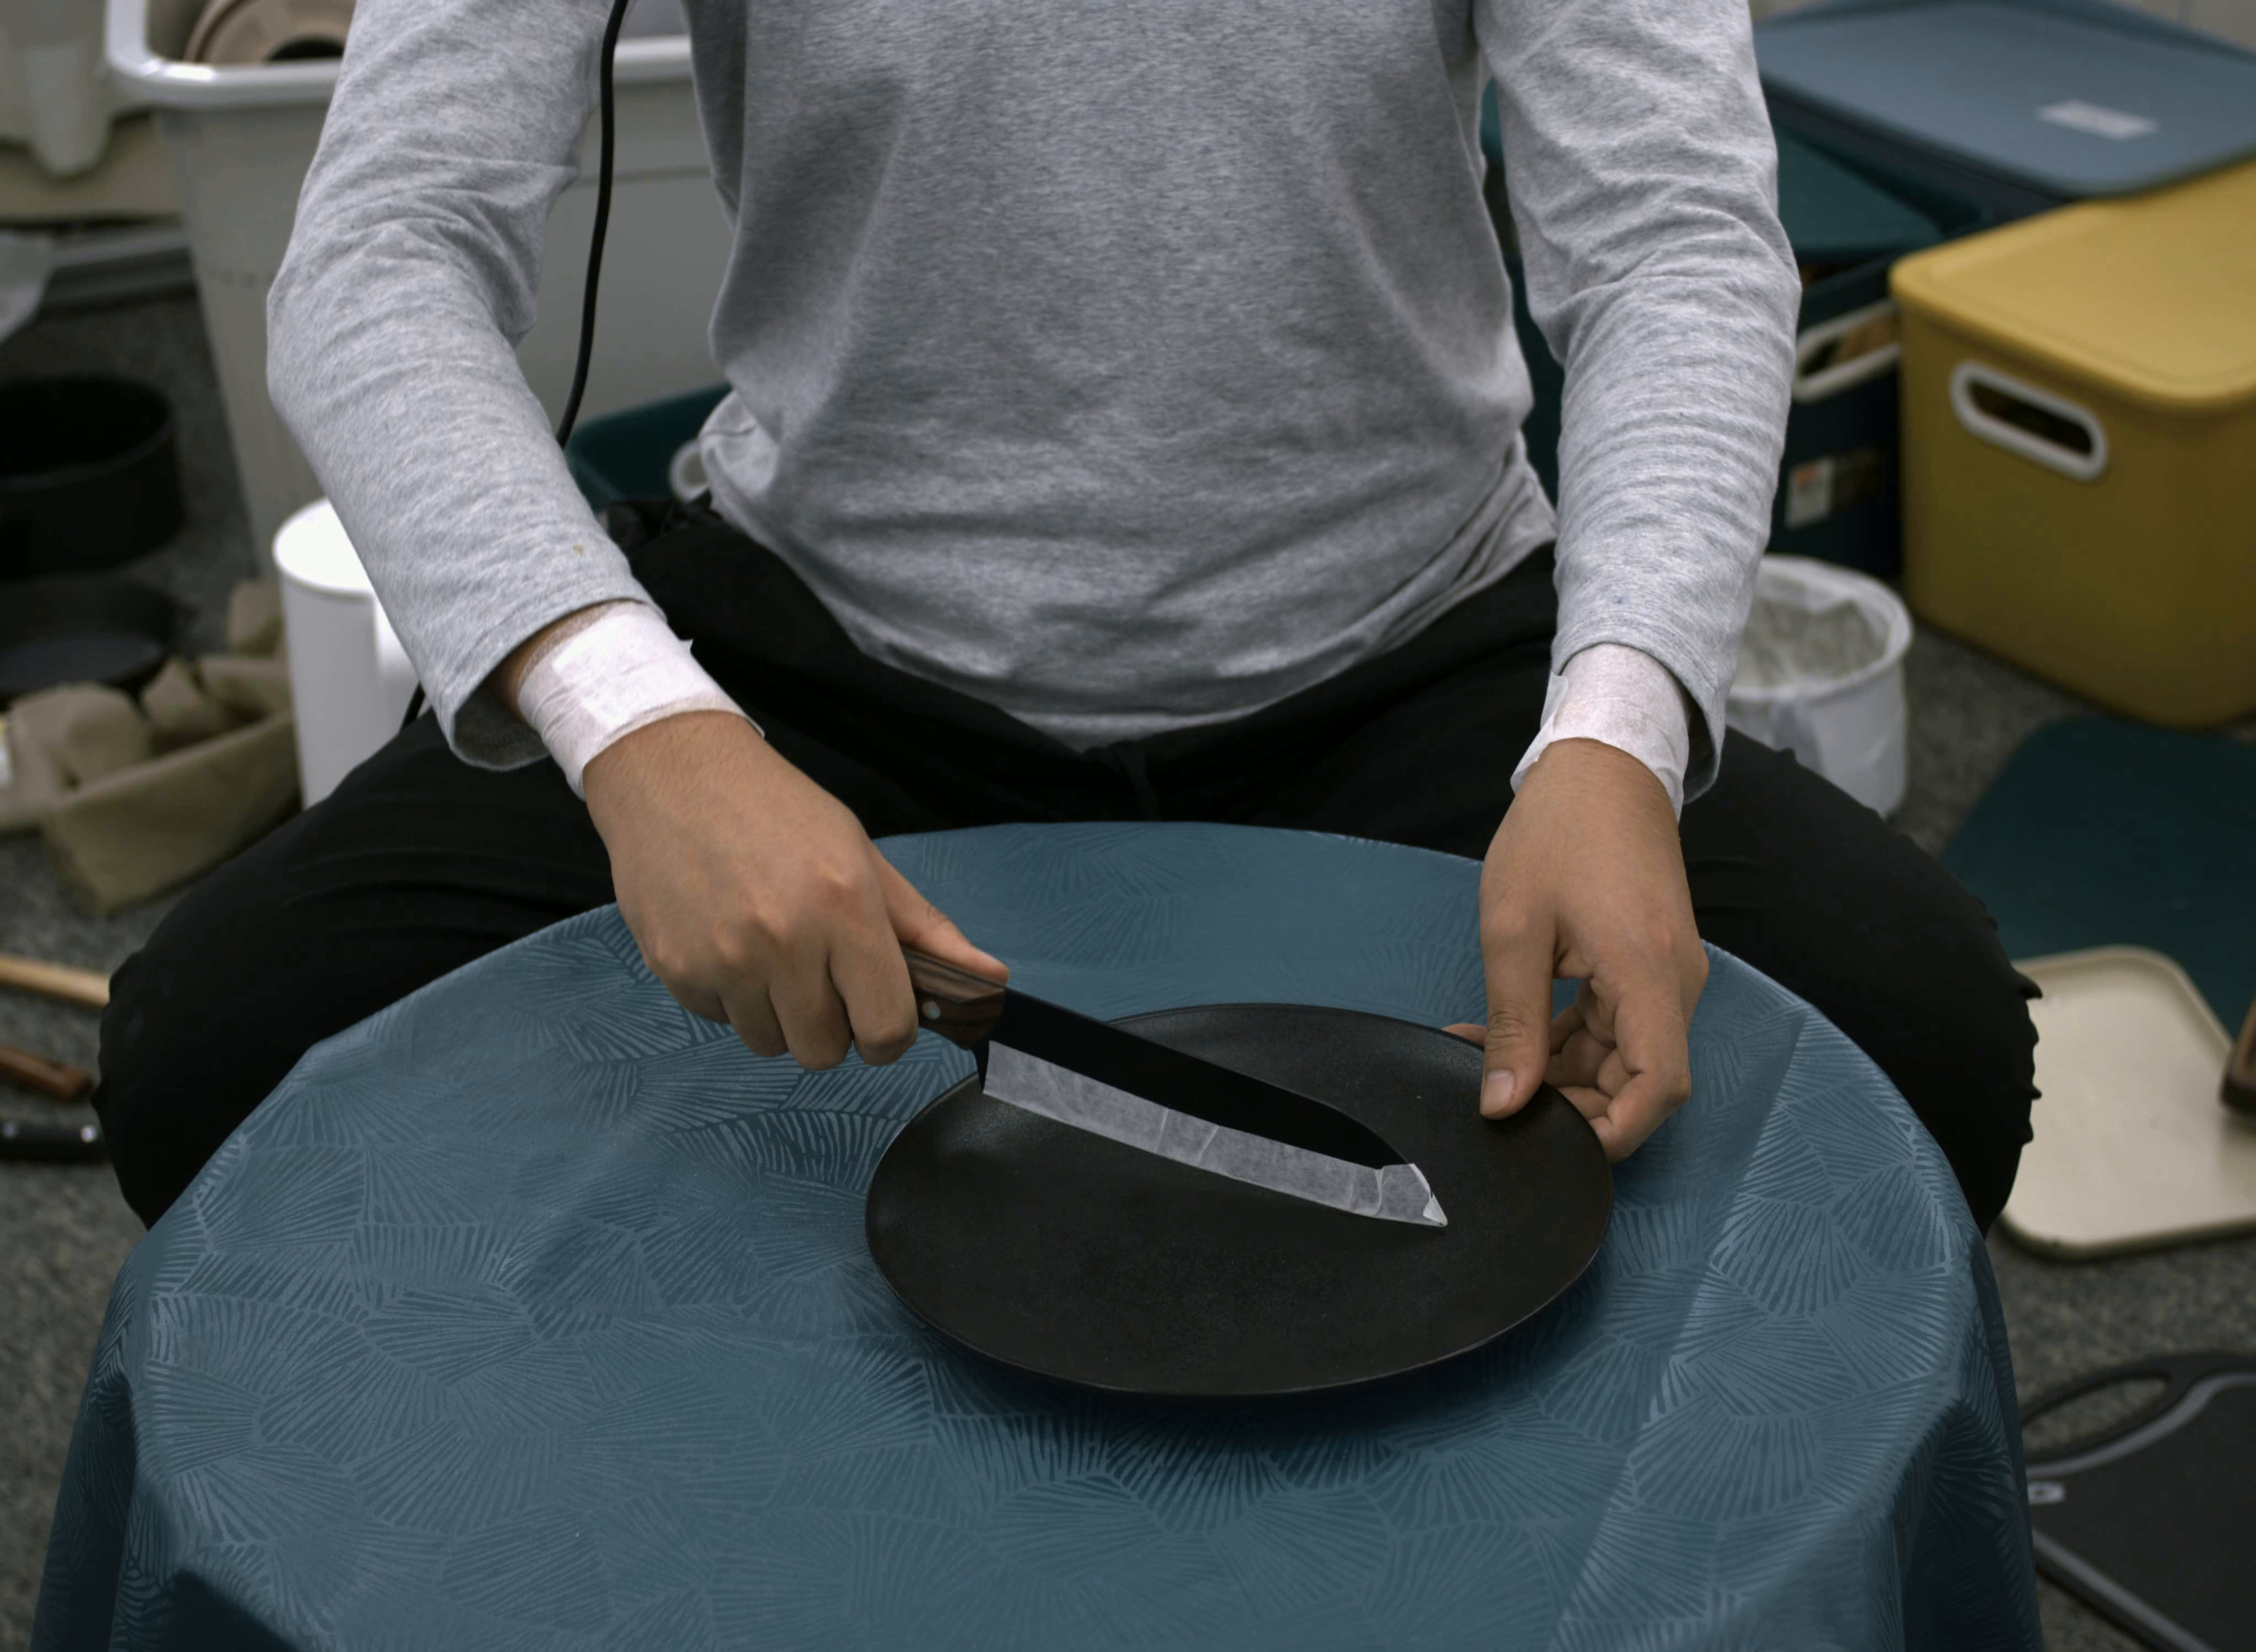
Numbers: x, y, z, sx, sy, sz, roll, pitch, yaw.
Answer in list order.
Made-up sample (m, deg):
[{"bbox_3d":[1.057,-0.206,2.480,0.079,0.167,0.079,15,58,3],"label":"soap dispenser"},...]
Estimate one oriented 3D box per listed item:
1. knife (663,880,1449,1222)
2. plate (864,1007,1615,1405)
[{"bbox_3d":[-0.026,0.075,1.851,0.288,0.049,0.020,21,35,16],"label":"knife"},{"bbox_3d":[0.036,0.127,1.823,0.243,0.023,0.248,-2,27,1],"label":"plate"}]
